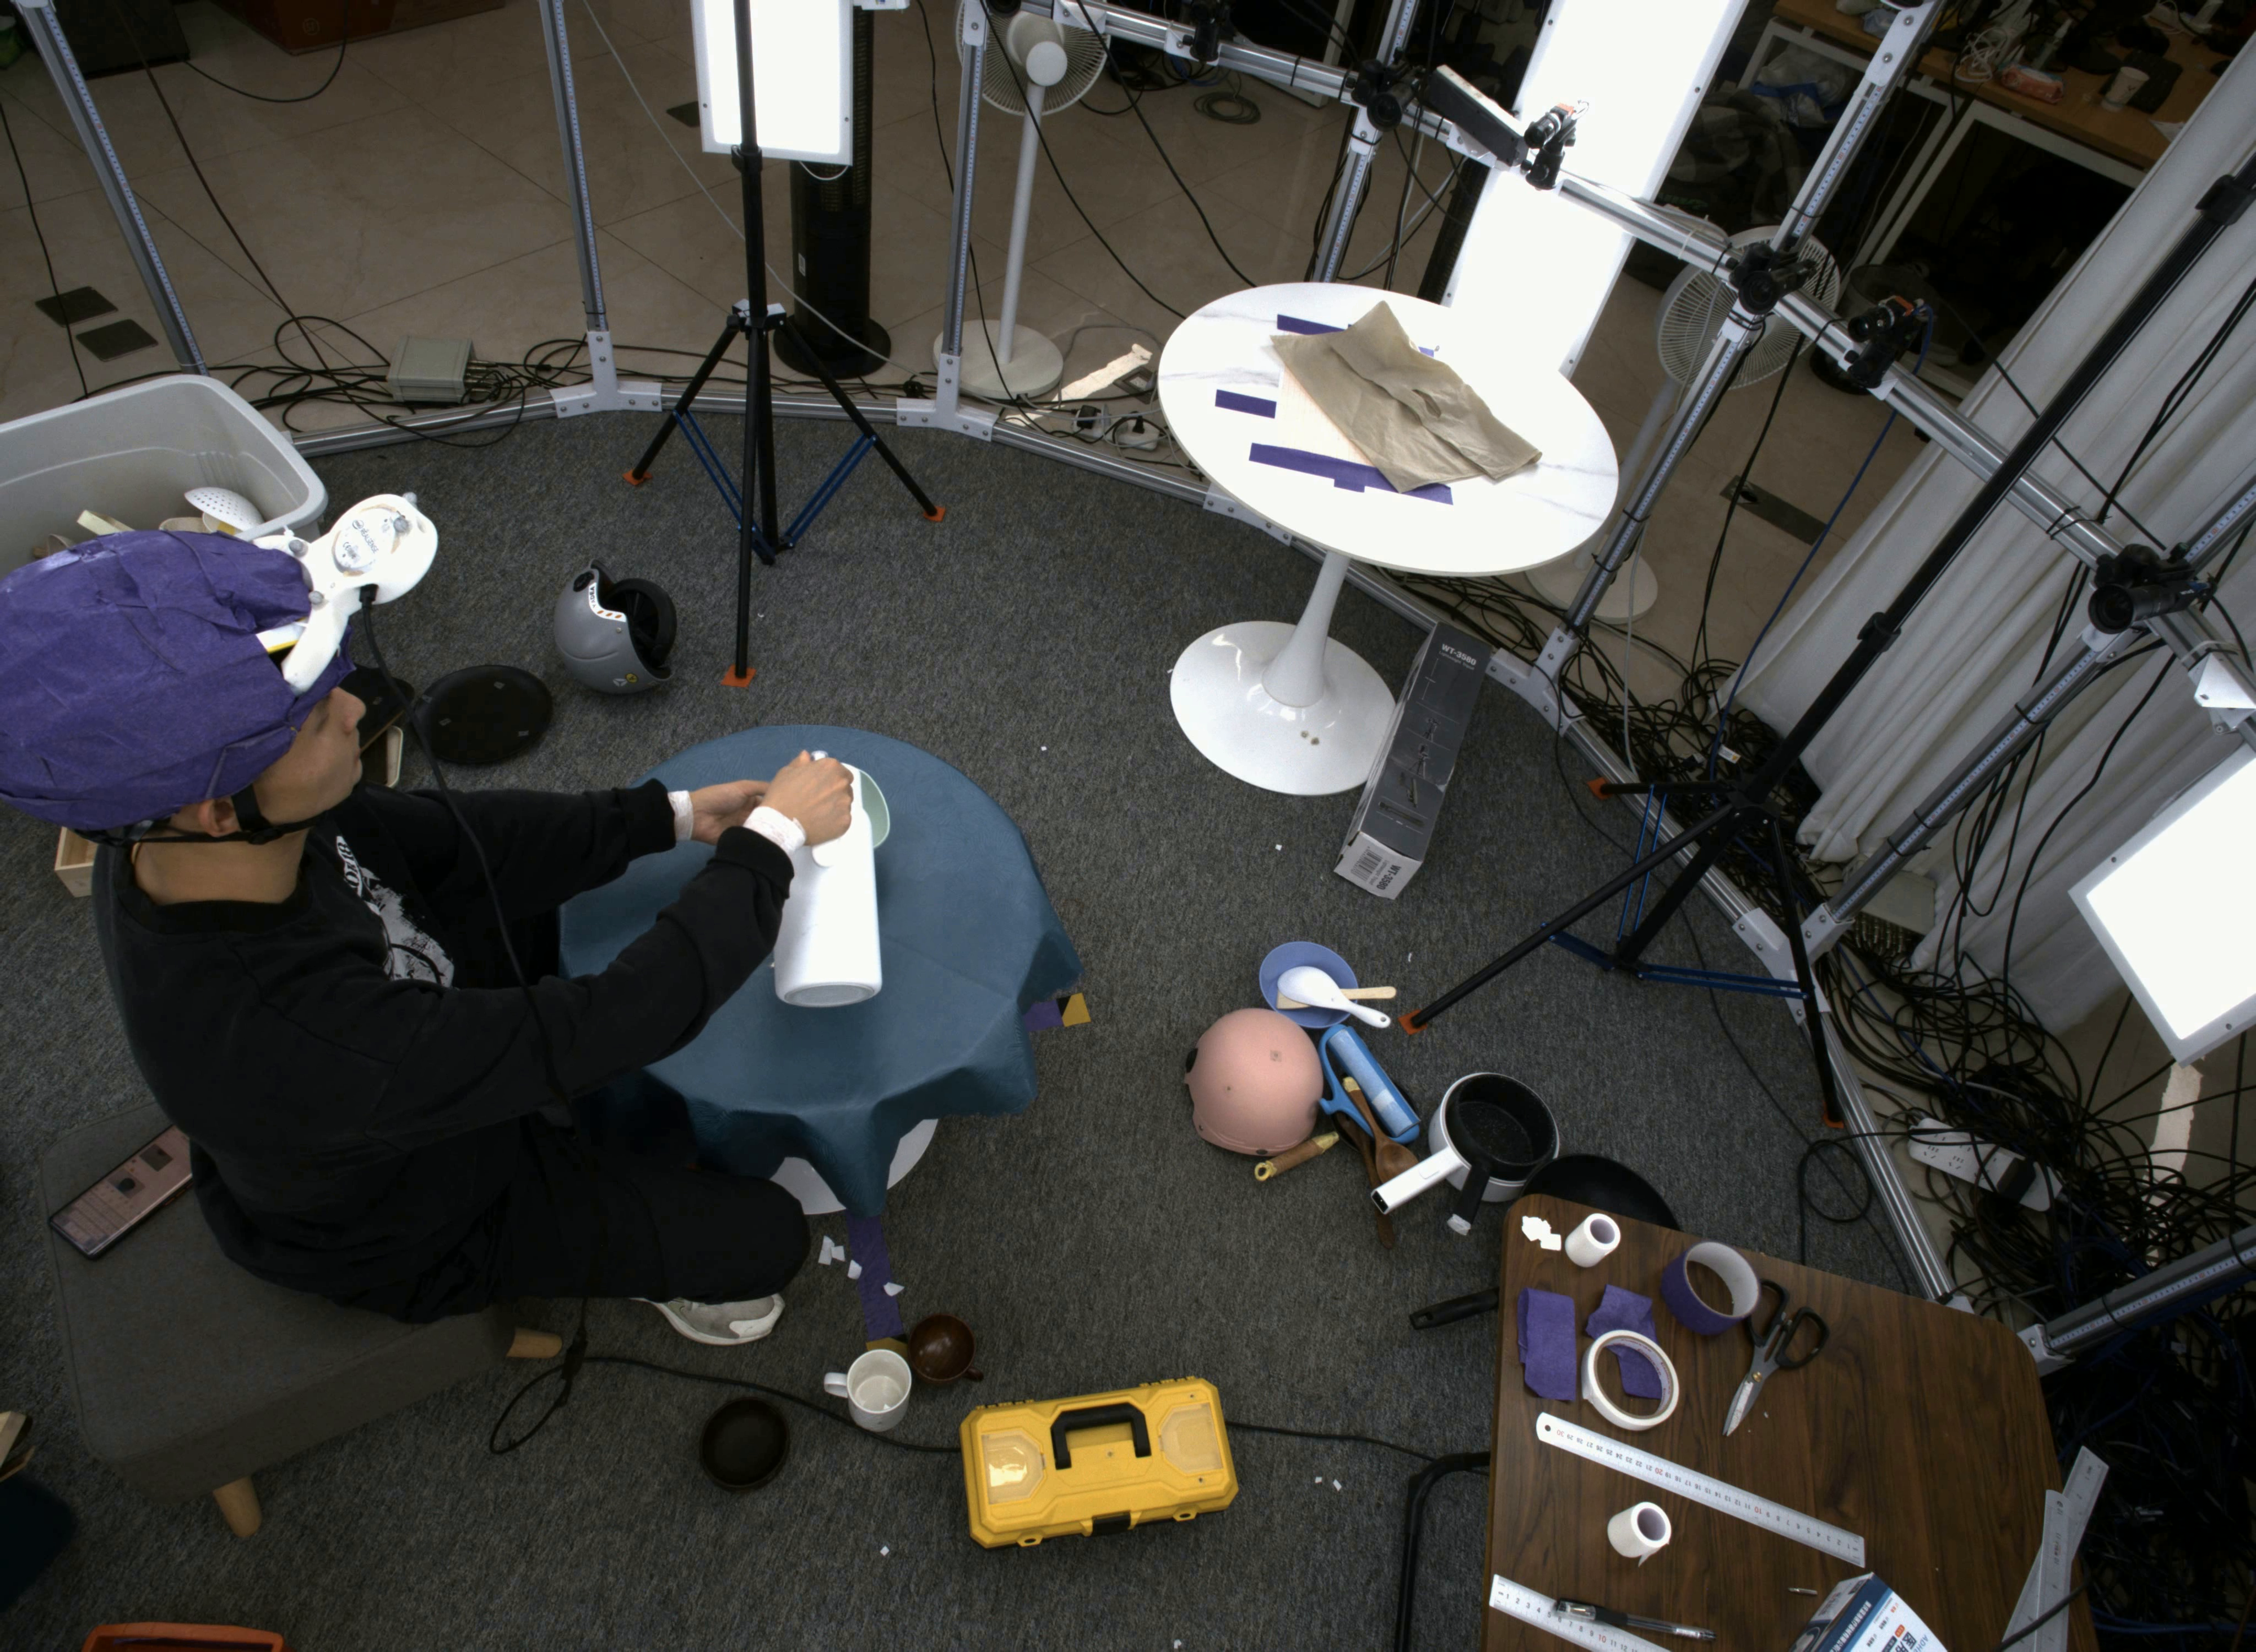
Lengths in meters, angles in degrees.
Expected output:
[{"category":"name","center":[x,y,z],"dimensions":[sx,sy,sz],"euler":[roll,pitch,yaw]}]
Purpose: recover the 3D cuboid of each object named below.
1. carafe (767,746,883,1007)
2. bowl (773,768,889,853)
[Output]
[{"category":"carafe","center":[-0.342,0.054,1.457],"dimensions":[0.124,0.173,0.267],"euler":[0,70,-16]},{"category":"bowl","center":[-0.379,-0.002,1.652],"dimensions":[0.152,0.059,0.149],"euler":[9,56,-12]}]
